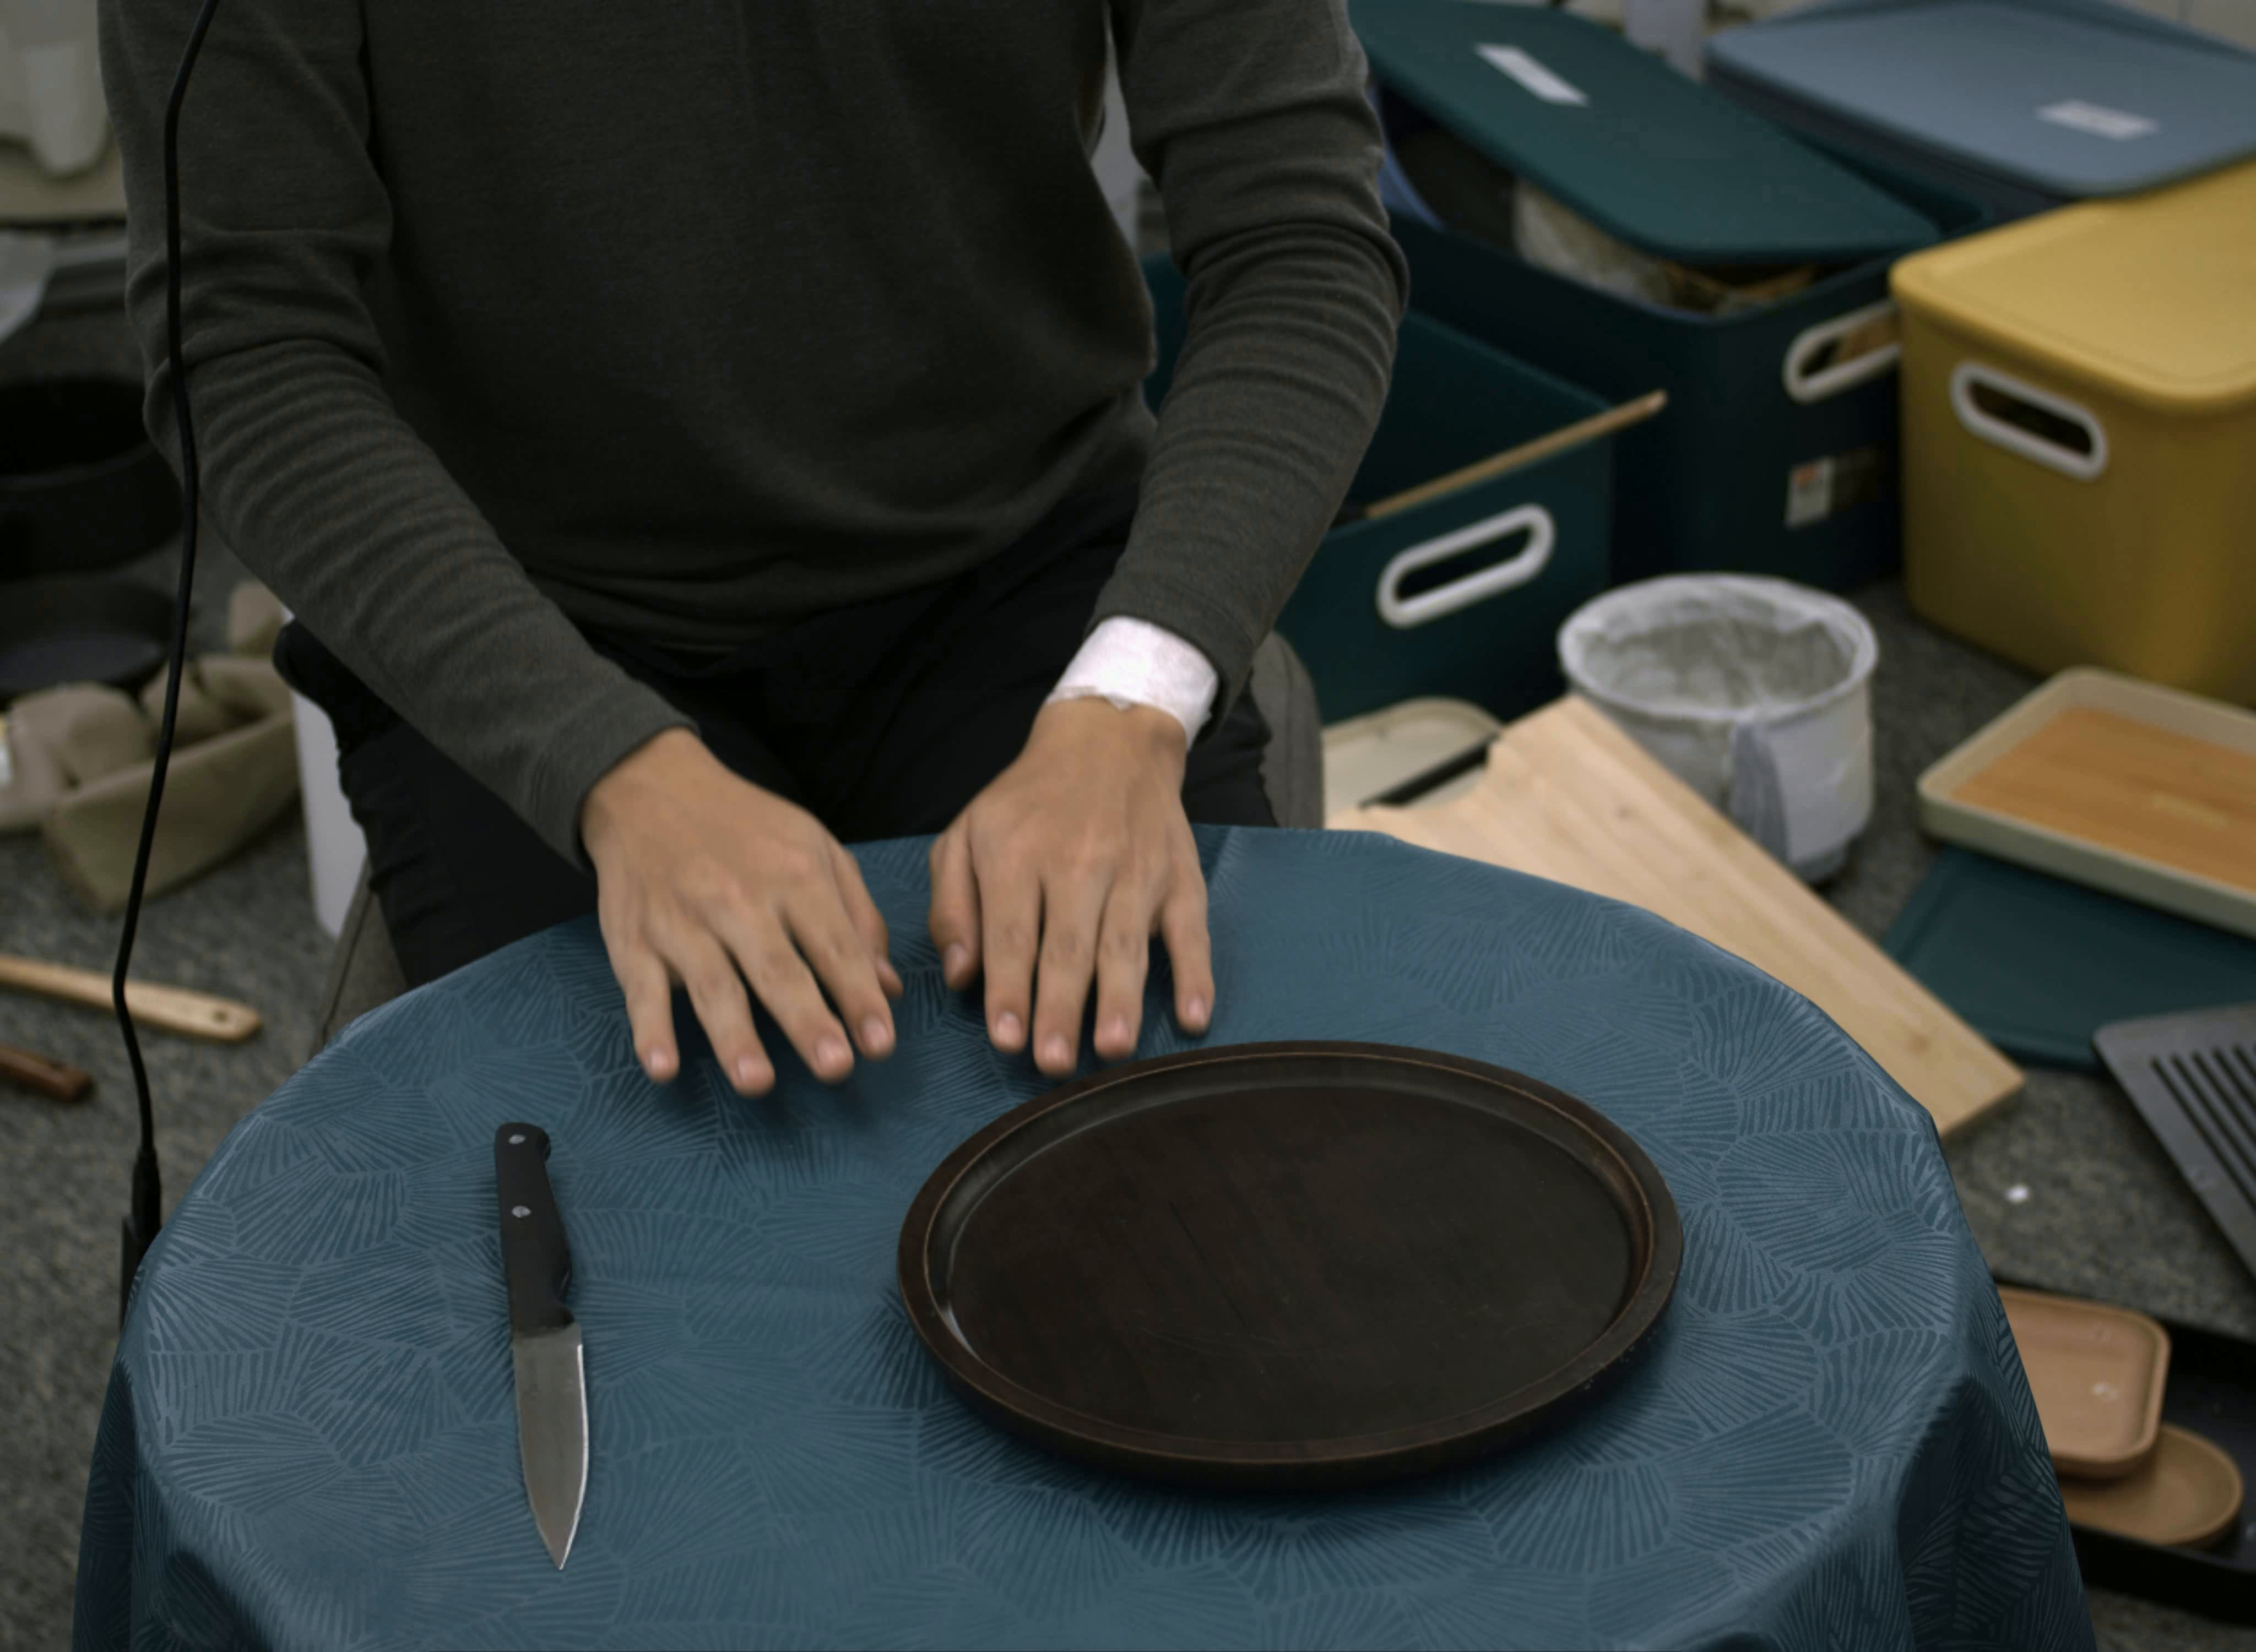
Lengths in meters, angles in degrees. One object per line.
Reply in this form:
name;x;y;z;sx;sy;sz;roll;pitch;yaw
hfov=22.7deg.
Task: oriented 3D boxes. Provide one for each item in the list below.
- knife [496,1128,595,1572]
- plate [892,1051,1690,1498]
knife;-0.186;0.165;1.782;0.024;0.016;0.241;-6;30;-6
plate;0.052;0.141;1.795;0.253;0.029;0.259;-1;28;1
